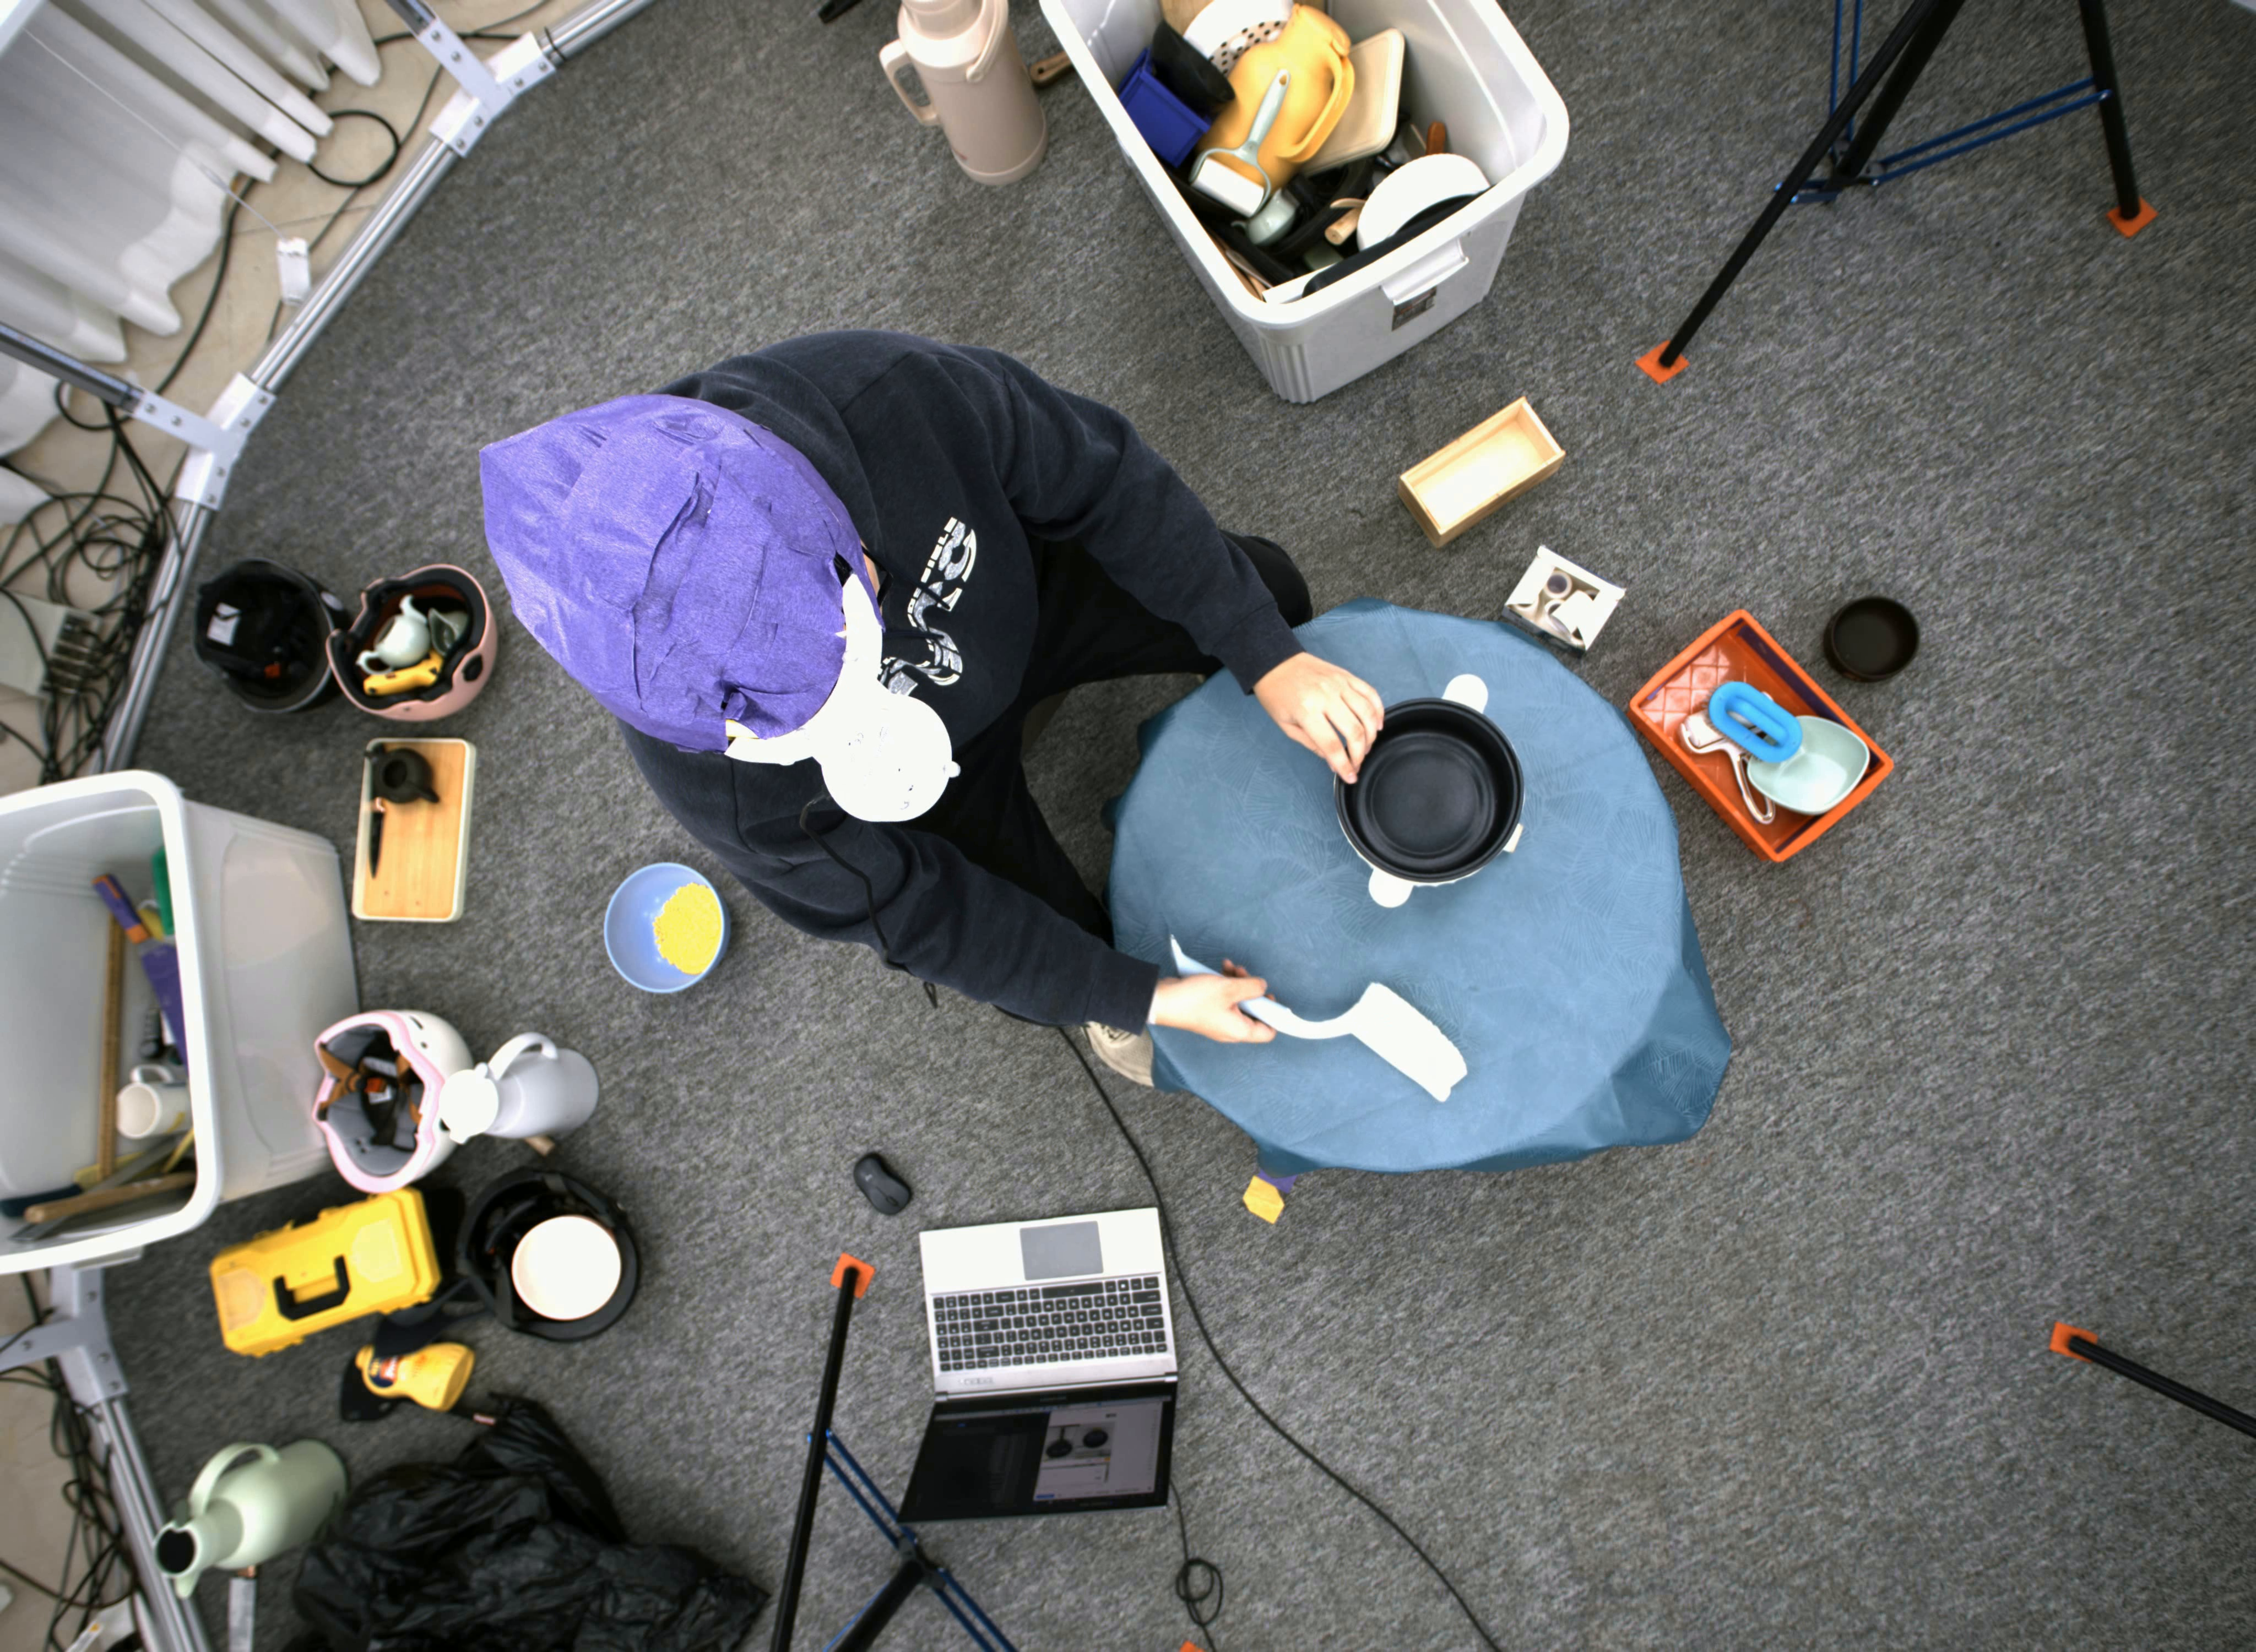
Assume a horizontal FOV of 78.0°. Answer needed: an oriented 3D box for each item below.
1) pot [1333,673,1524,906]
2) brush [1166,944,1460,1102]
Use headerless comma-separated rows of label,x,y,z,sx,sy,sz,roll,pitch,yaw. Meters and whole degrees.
pot,0.306,-0.029,1.389,0.190,0.142,0.240,21,91,15
brush,0.196,0.173,1.421,0.325,0.082,0.085,27,126,5
